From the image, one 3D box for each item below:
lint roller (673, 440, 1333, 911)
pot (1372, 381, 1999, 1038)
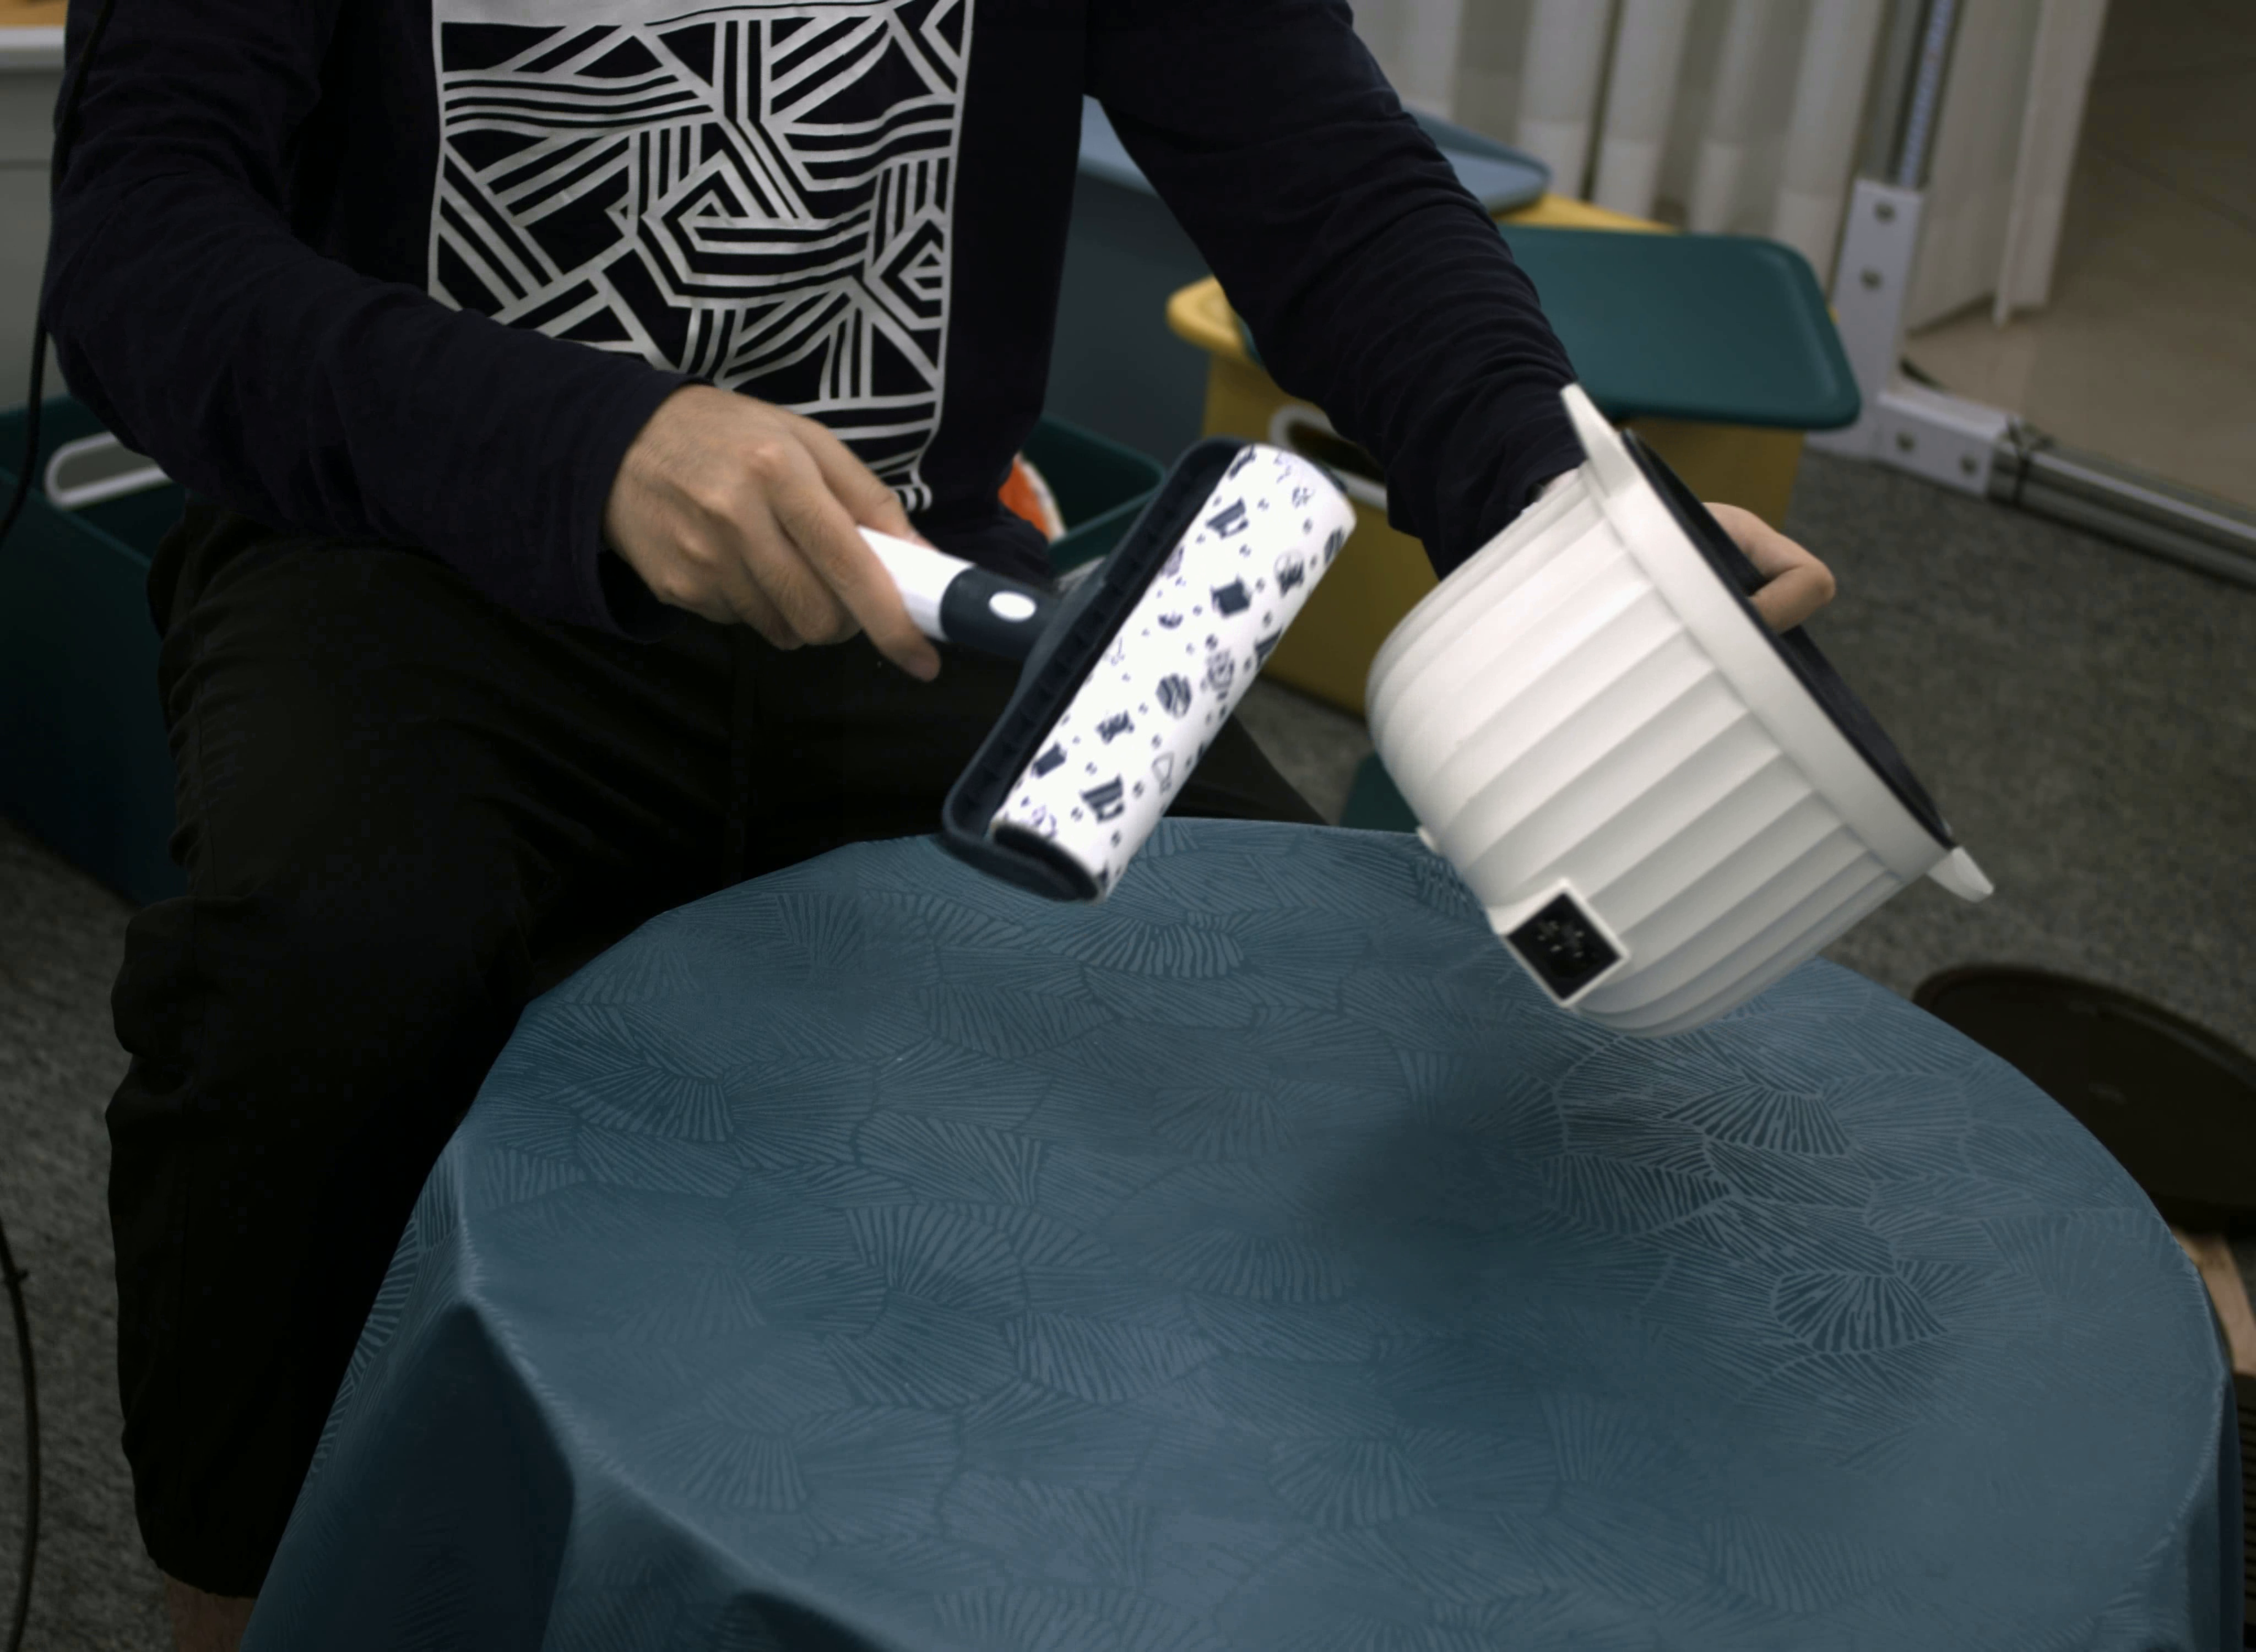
[{"bbox_3d":[-0.068,-0.075,1.831,0.248,0.050,0.177,19,67,35],"label":"lint roller"},{"bbox_3d":[0.174,-0.027,1.810,0.142,0.239,0.191,-37,21,12],"label":"pot"}]
